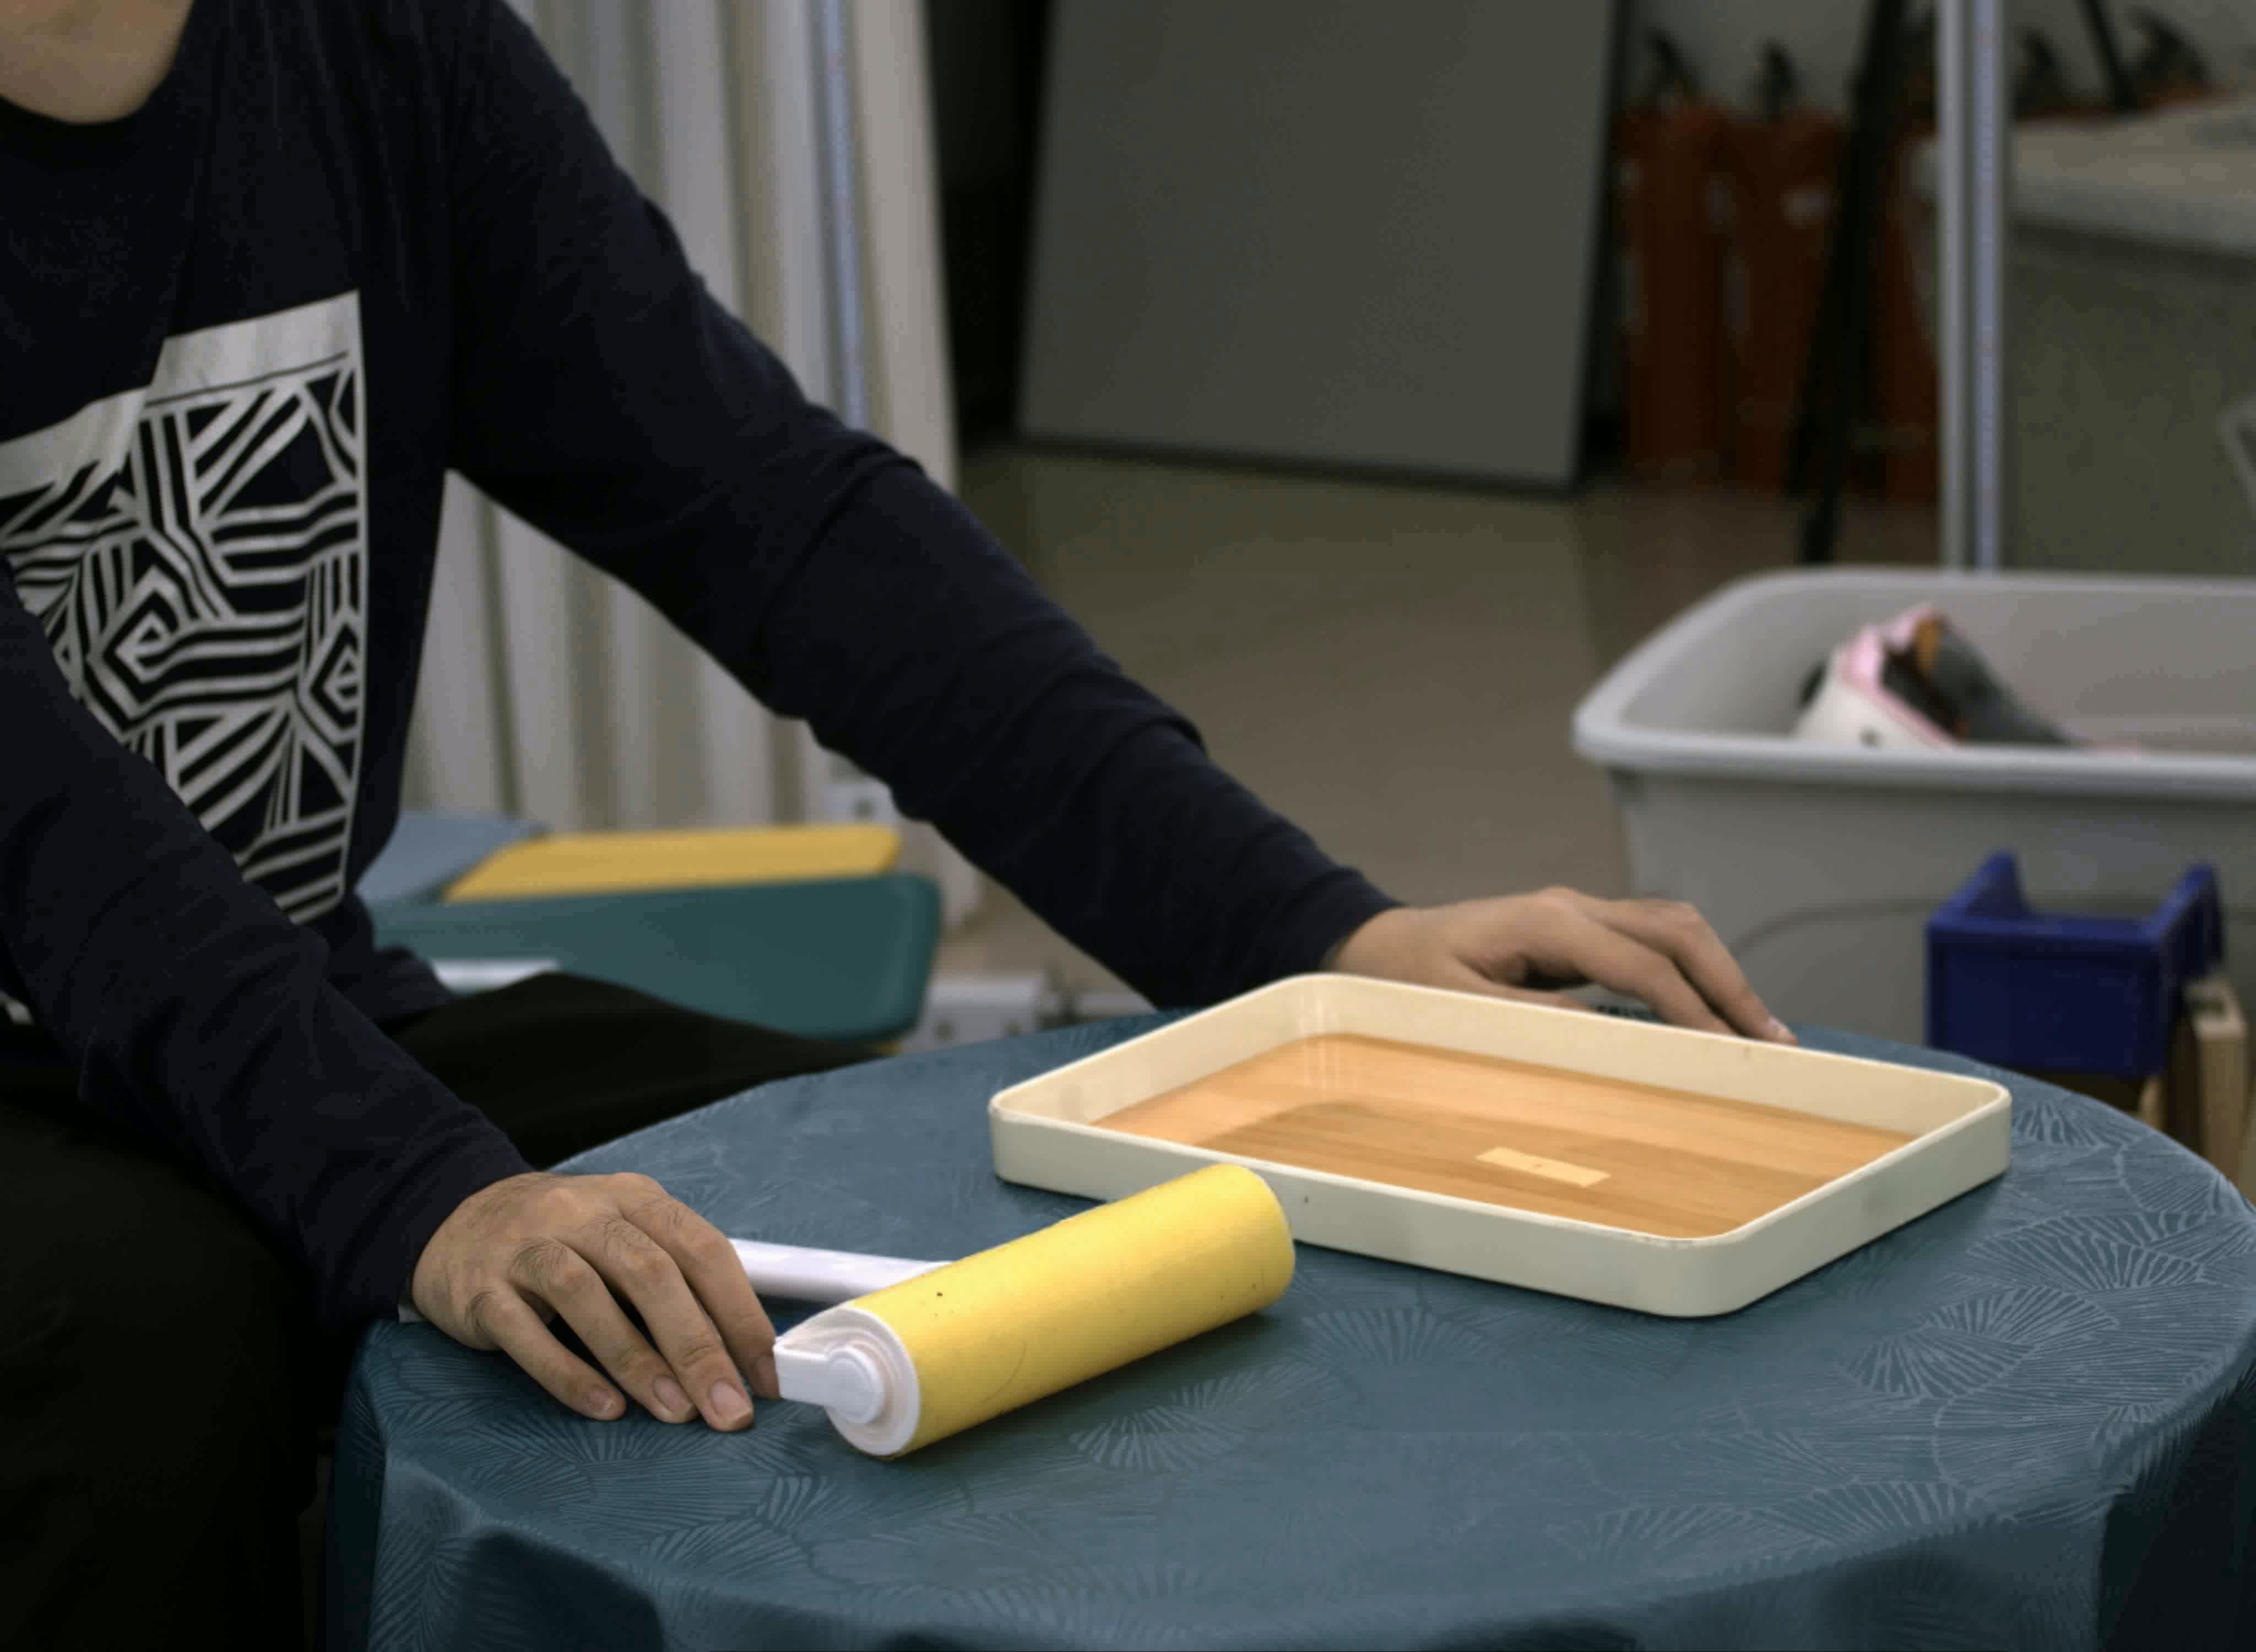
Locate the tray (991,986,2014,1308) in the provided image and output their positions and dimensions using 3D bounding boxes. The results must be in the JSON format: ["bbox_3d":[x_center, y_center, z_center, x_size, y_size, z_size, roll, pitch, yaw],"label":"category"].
[{"bbox_3d":[0.120,0.102,1.764,0.303,0.028,0.188,7,17,41],"label":"tray"}]

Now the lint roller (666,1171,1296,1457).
[{"bbox_3d":[-0.072,0.133,1.641,0.194,0.052,0.171,13,20,42],"label":"lint roller"}]
